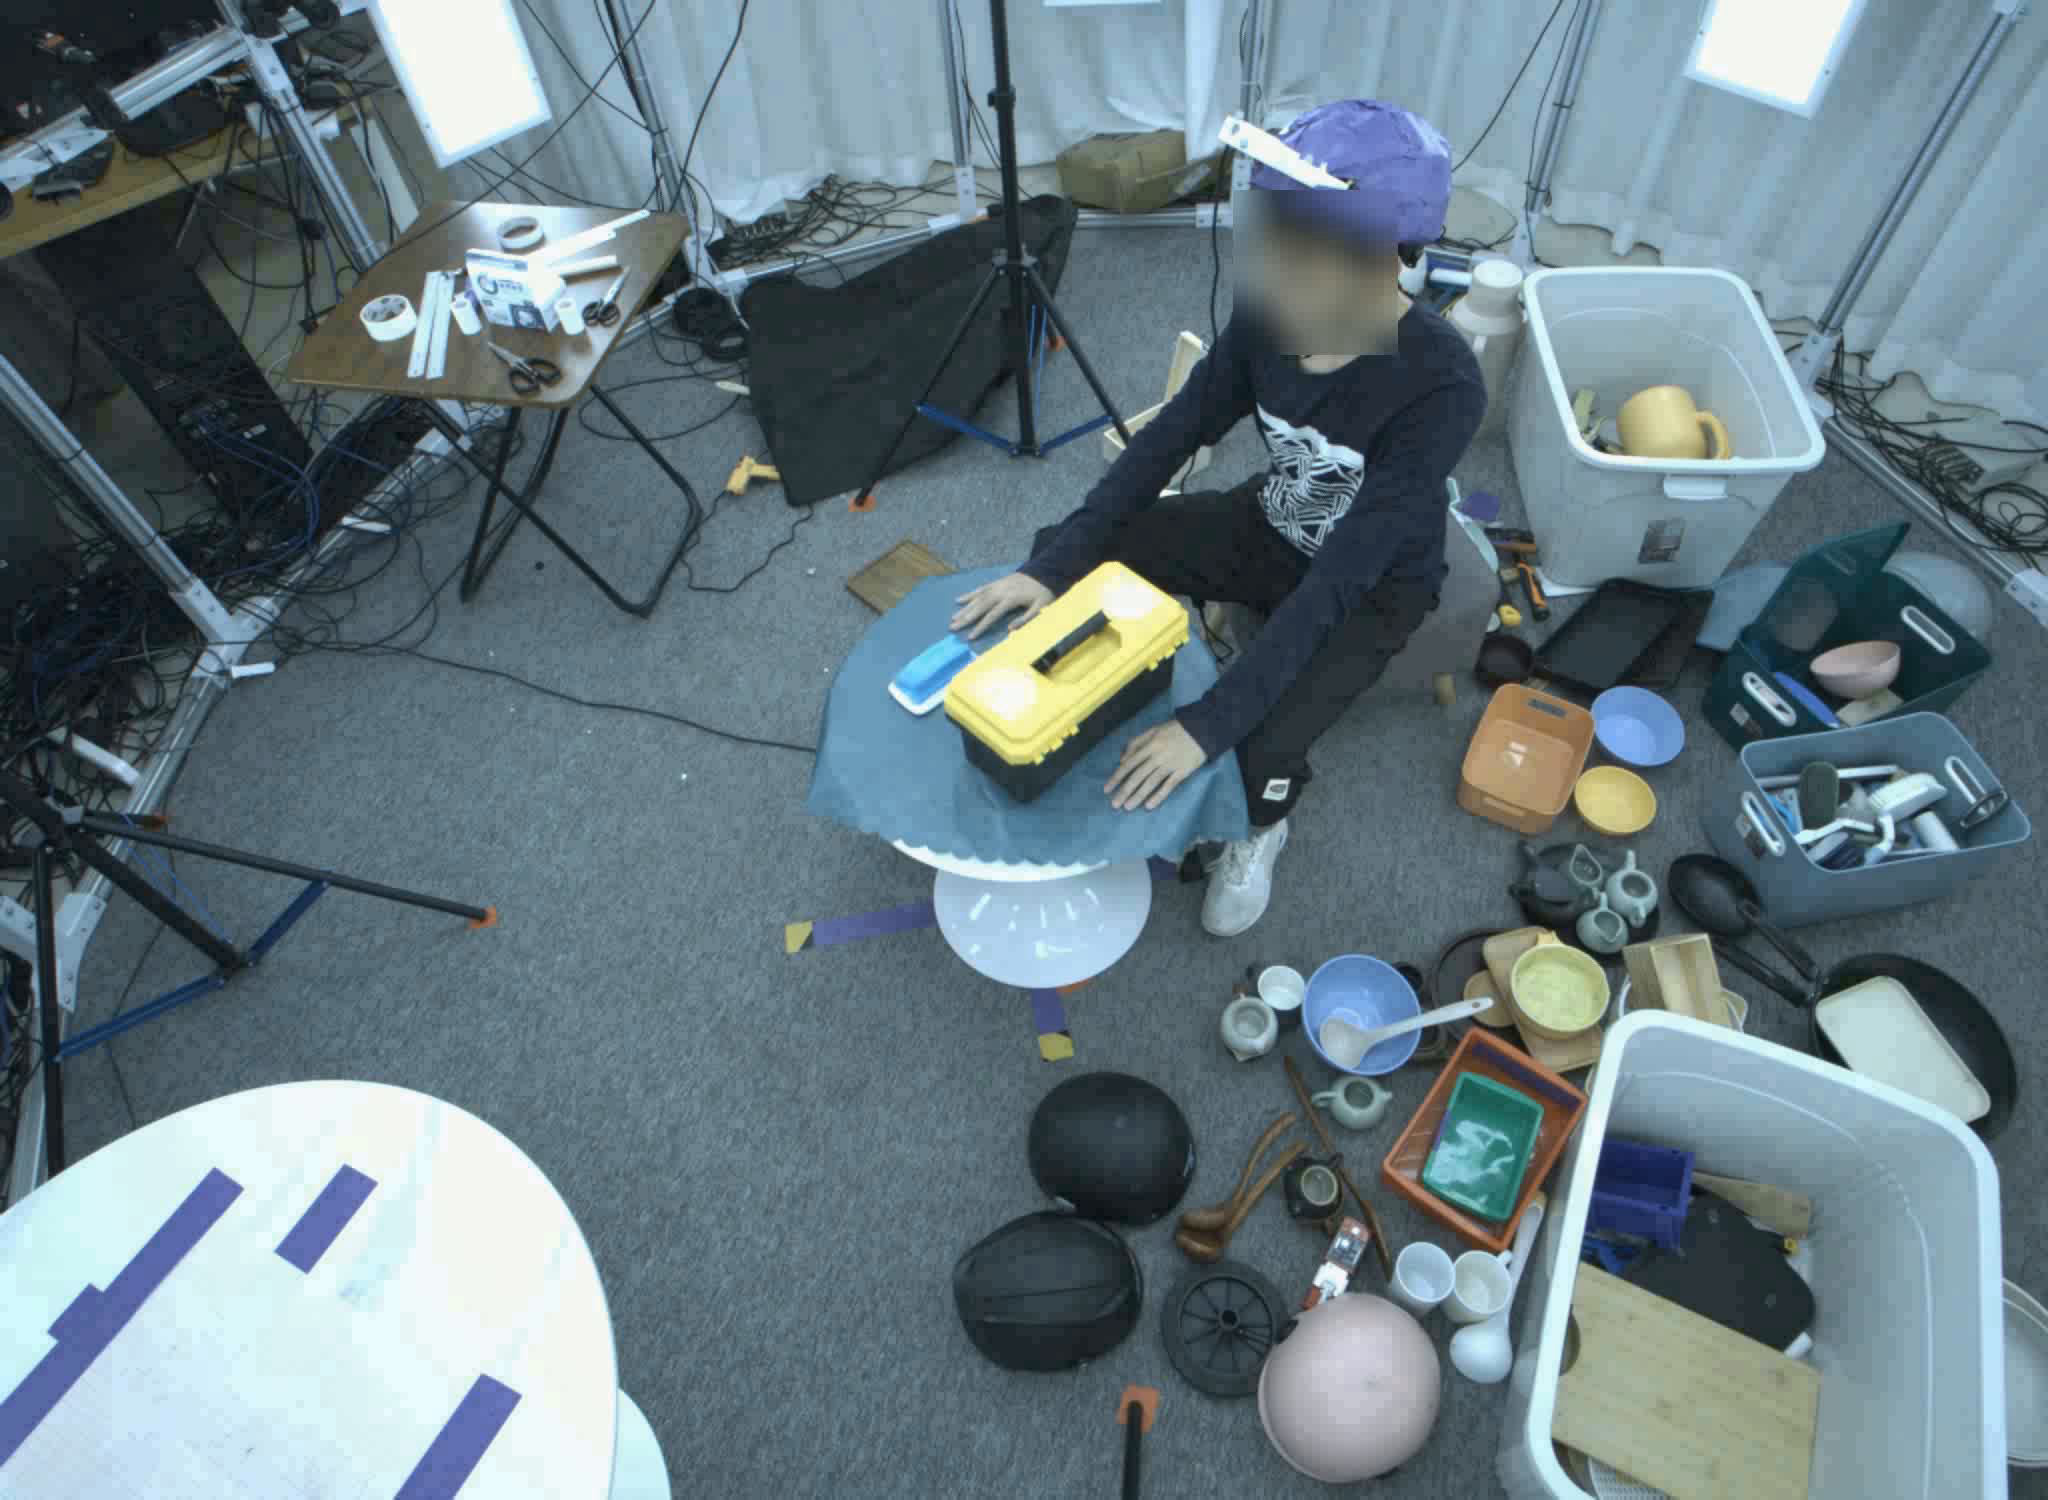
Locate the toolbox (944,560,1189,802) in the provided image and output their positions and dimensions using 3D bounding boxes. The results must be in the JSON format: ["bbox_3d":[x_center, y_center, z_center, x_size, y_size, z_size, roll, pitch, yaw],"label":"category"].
[{"bbox_3d":[0.064,-0.098,1.739,0.354,0.175,0.178,-40,62,-23],"label":"toolbox"}]

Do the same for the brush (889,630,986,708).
[{"bbox_3d":[-0.131,-0.129,1.838,0.145,0.056,0.082,-39,65,-20],"label":"brush"}]
